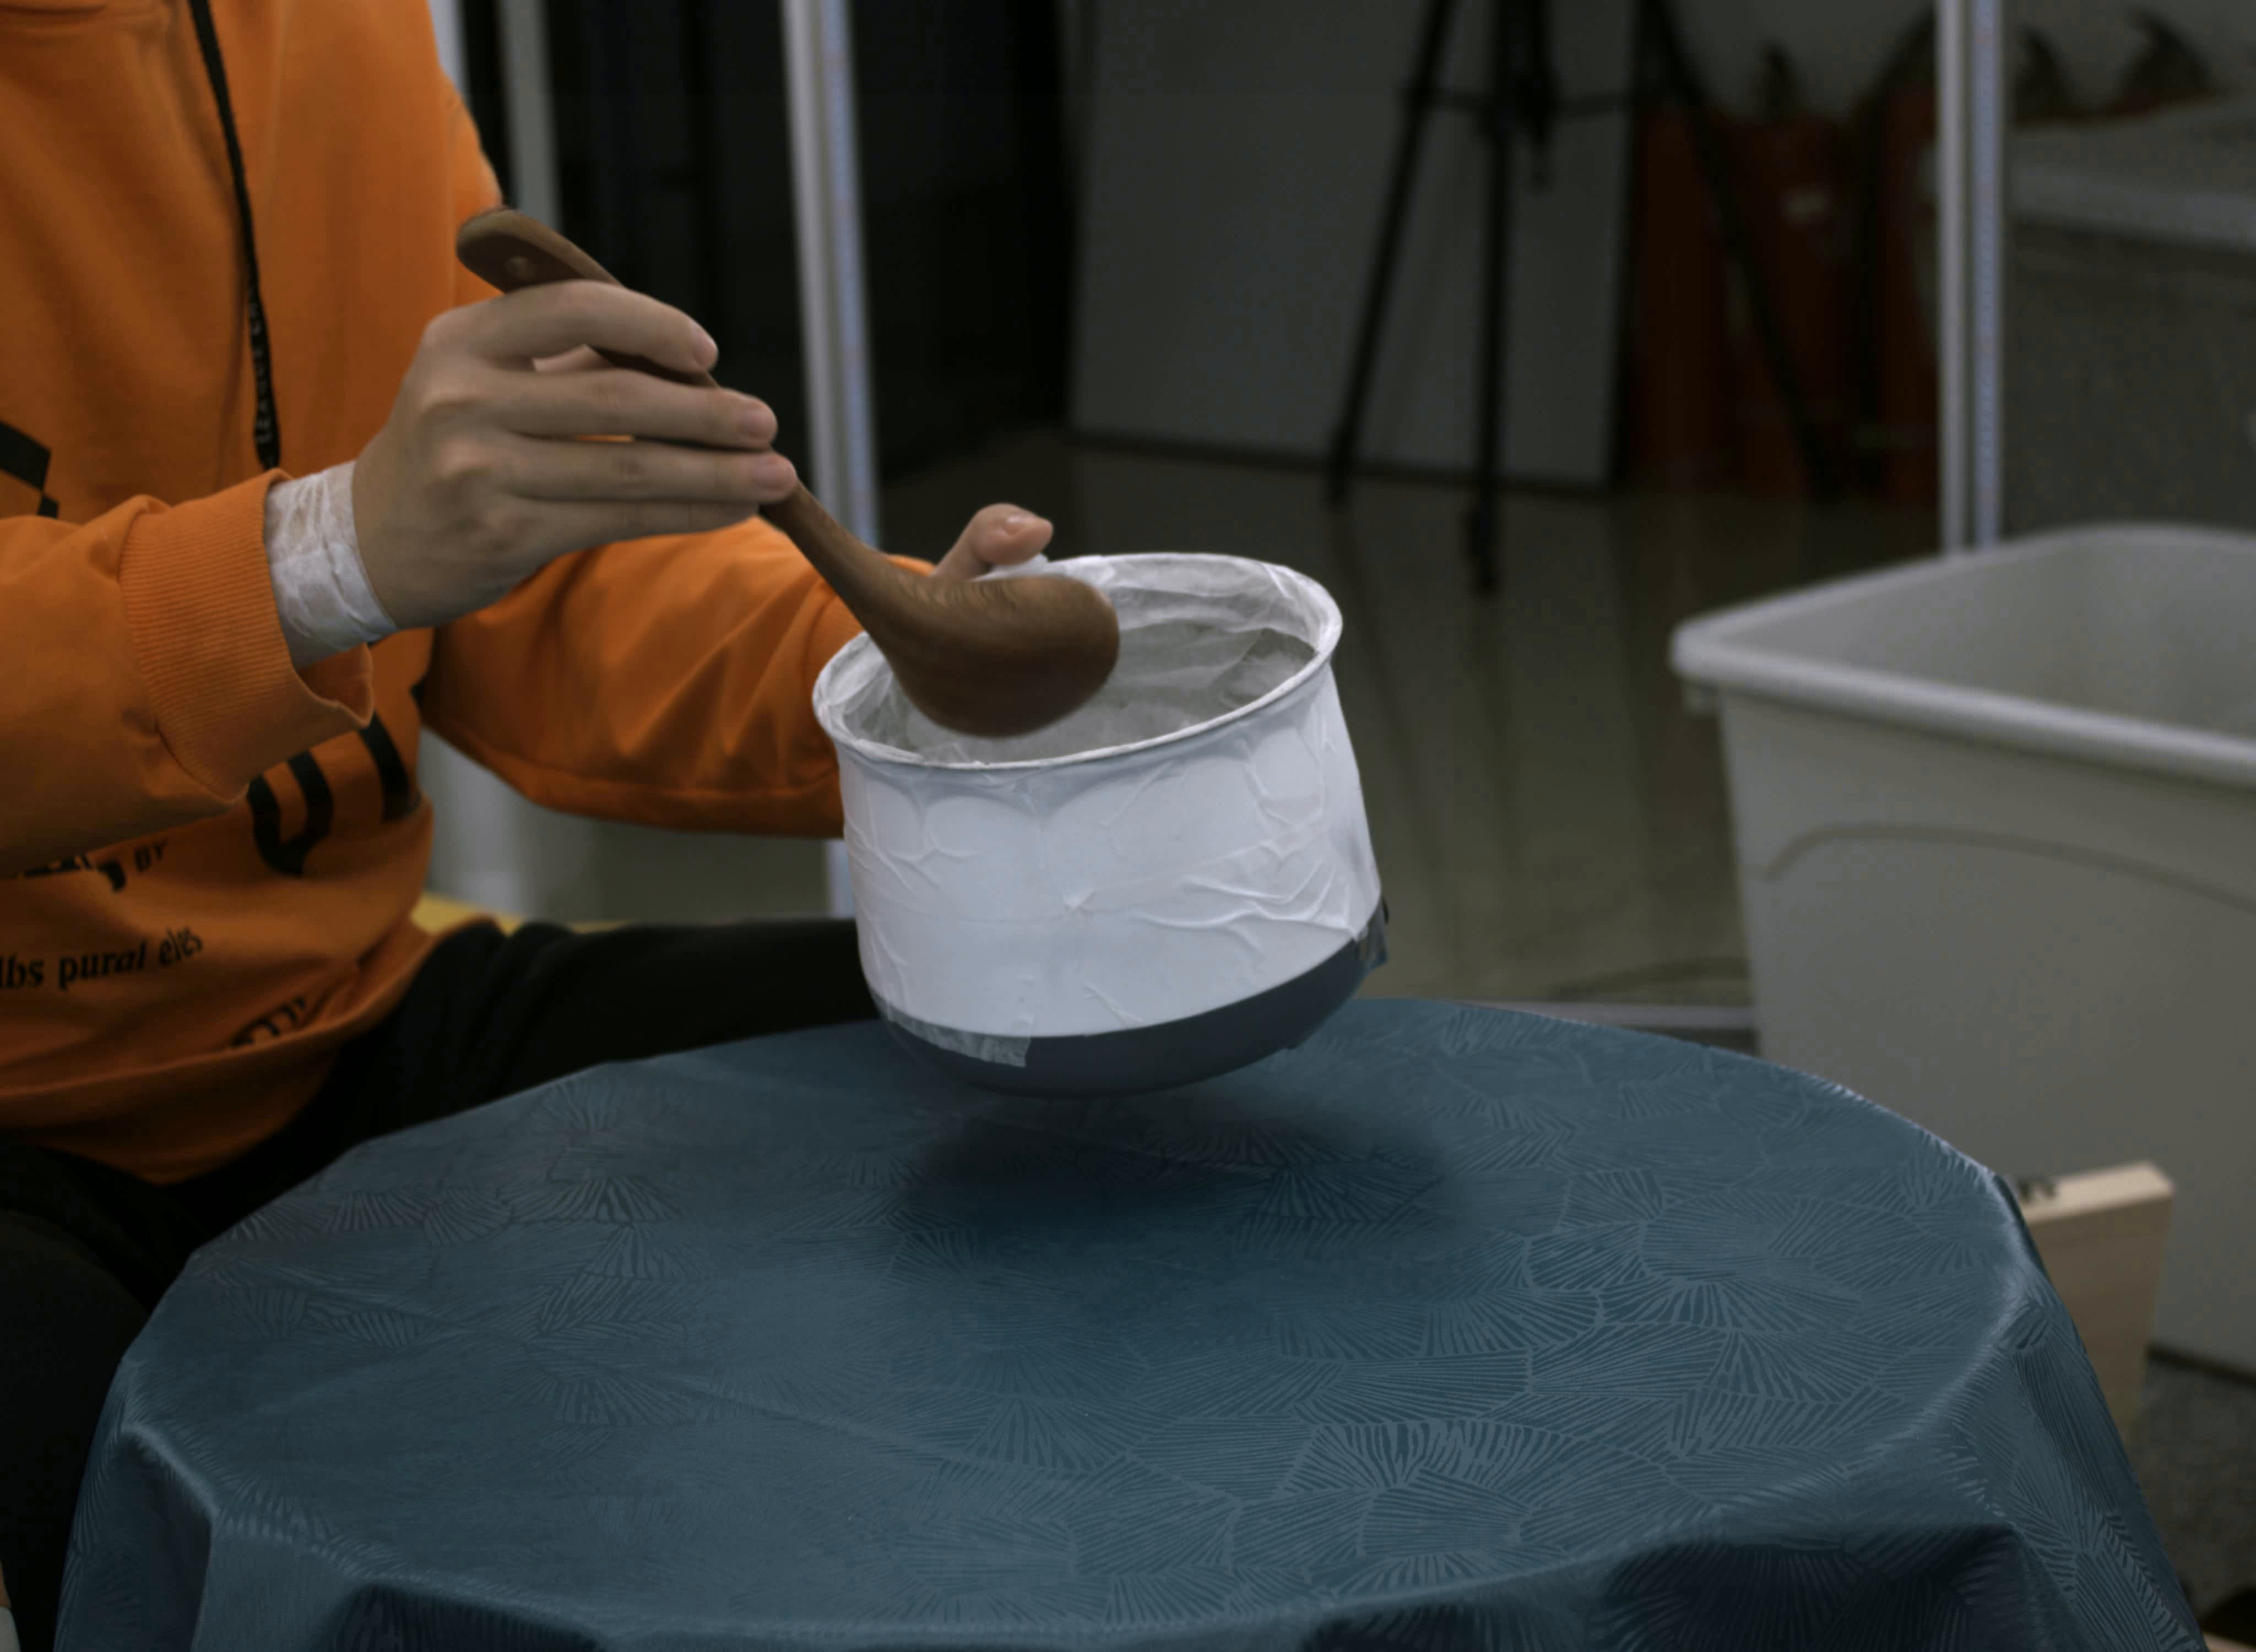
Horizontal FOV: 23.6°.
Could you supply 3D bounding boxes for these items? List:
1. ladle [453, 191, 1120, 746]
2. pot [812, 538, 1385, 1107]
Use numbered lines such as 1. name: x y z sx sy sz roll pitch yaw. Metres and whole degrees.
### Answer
1. ladle: -0.108 -0.120 1.732 0.077 0.259 0.065 -39 13 36
2. pot: -0.014 -0.009 1.810 0.176 0.137 0.235 -13 23 -9
